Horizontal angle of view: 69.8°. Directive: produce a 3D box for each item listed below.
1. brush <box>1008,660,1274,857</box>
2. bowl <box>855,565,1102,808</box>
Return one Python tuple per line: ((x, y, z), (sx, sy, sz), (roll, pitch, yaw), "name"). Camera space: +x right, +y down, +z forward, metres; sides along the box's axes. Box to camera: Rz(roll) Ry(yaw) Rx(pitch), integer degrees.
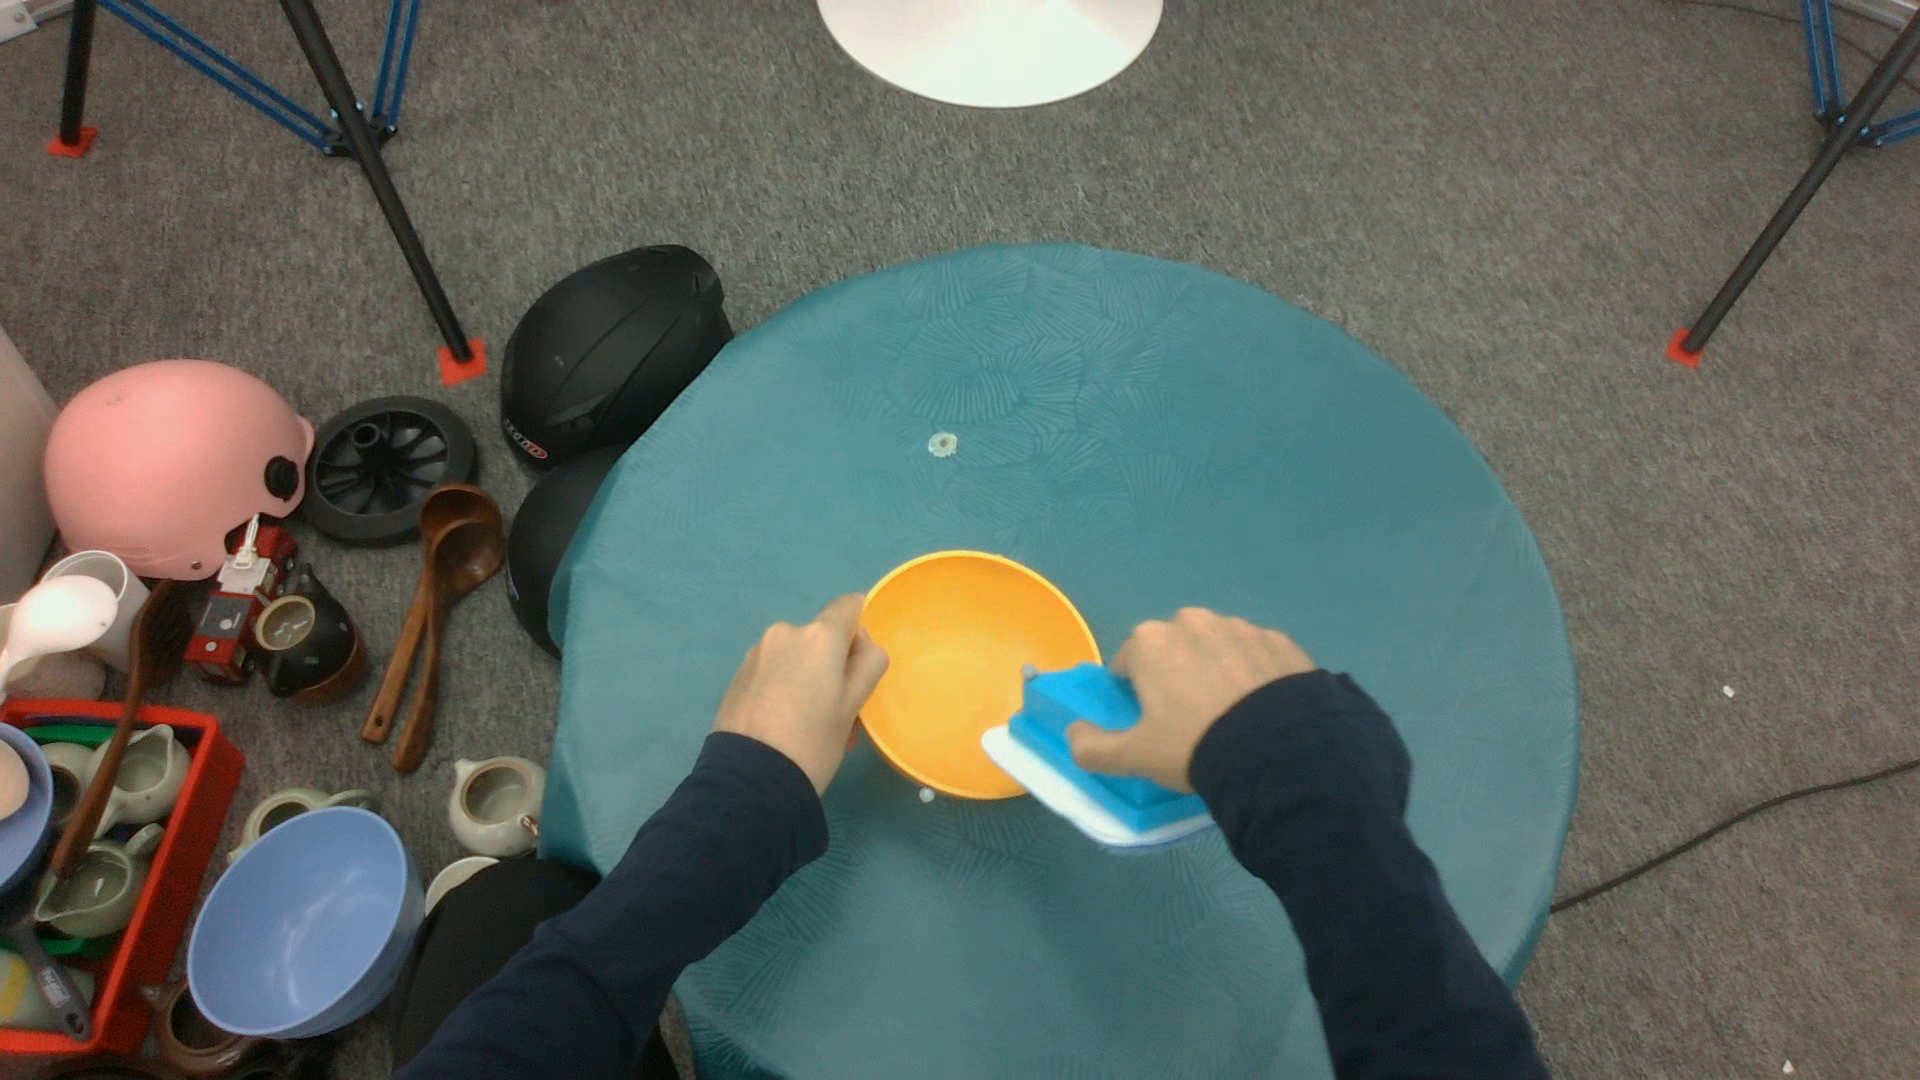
((0.080, 0.096, 0.662), (0.084, 0.056, 0.144), (-16, 18, -20), "brush")
((0.006, 0.090, 0.769), (0.145, 0.060, 0.146), (9, 55, -13), "bowl")
